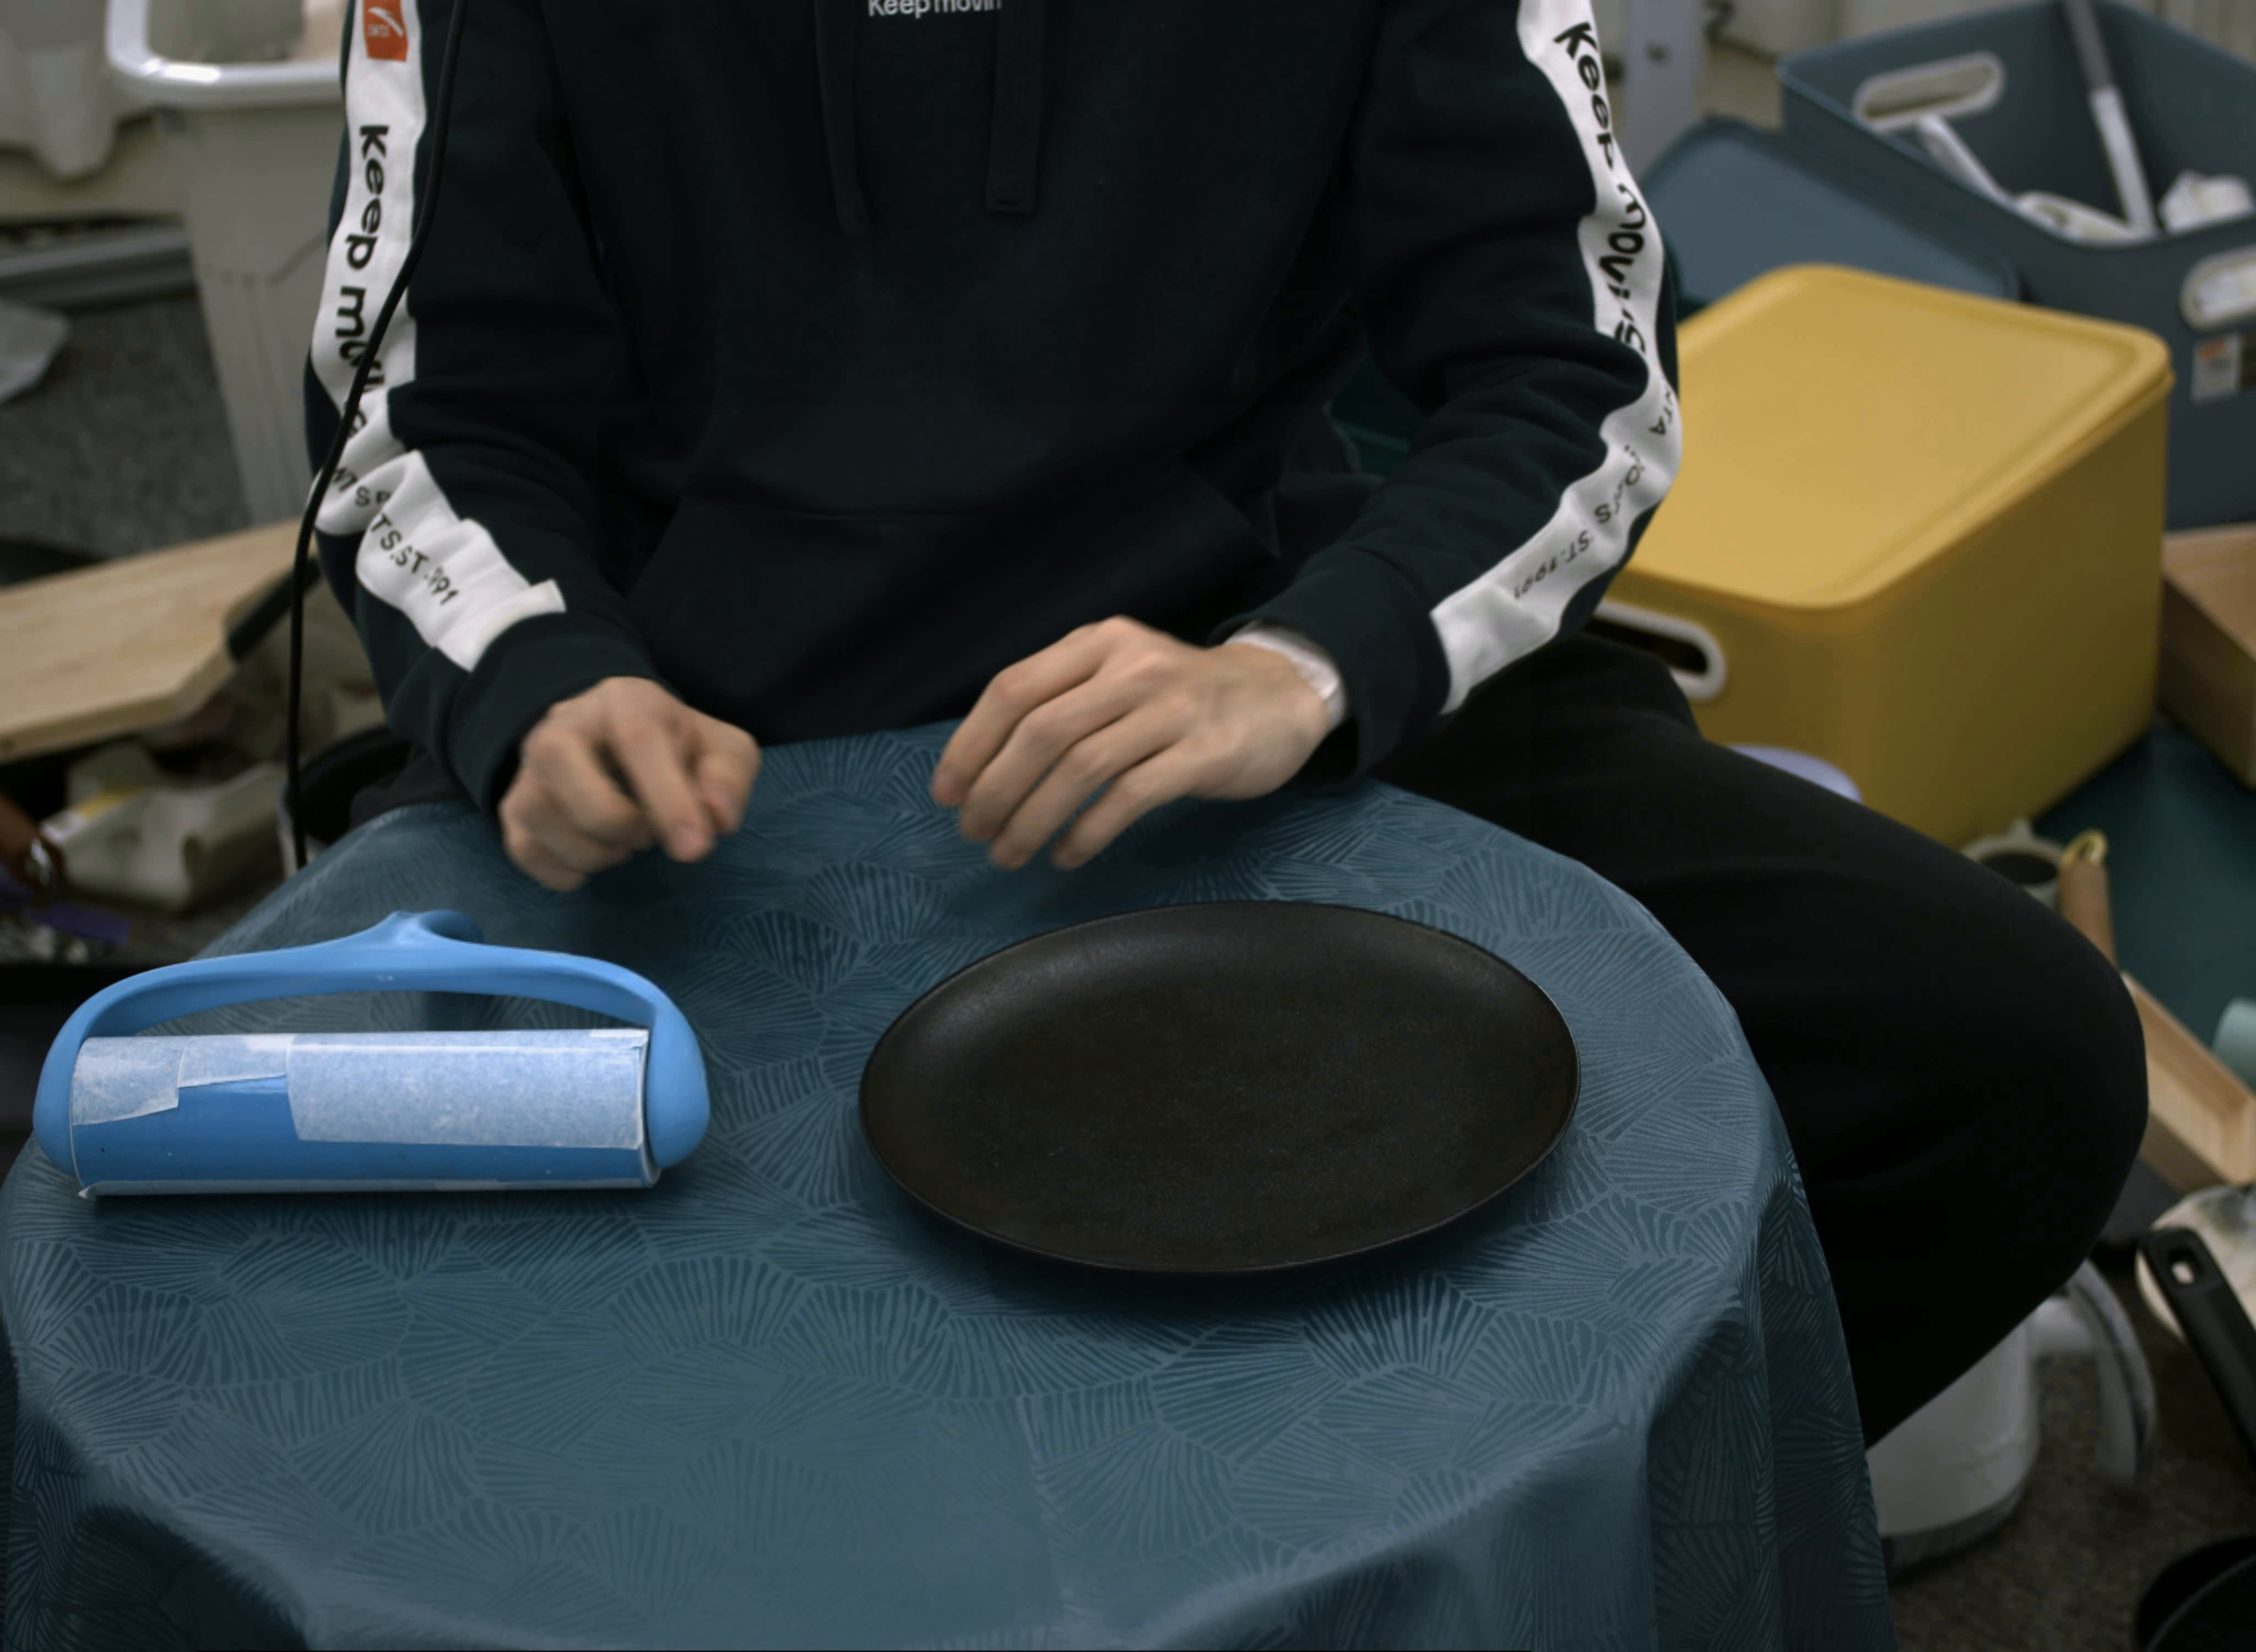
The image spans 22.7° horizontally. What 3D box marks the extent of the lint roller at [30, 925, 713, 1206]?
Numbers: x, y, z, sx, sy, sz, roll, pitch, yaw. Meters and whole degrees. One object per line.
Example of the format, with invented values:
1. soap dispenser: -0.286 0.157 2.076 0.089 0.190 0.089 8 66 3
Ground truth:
1. lint roller: -0.252 0.069 1.926 0.228 0.067 0.183 -4 28 2

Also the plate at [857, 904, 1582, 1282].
1. plate: 0.031 0.094 1.885 0.243 0.023 0.248 -2 28 1
